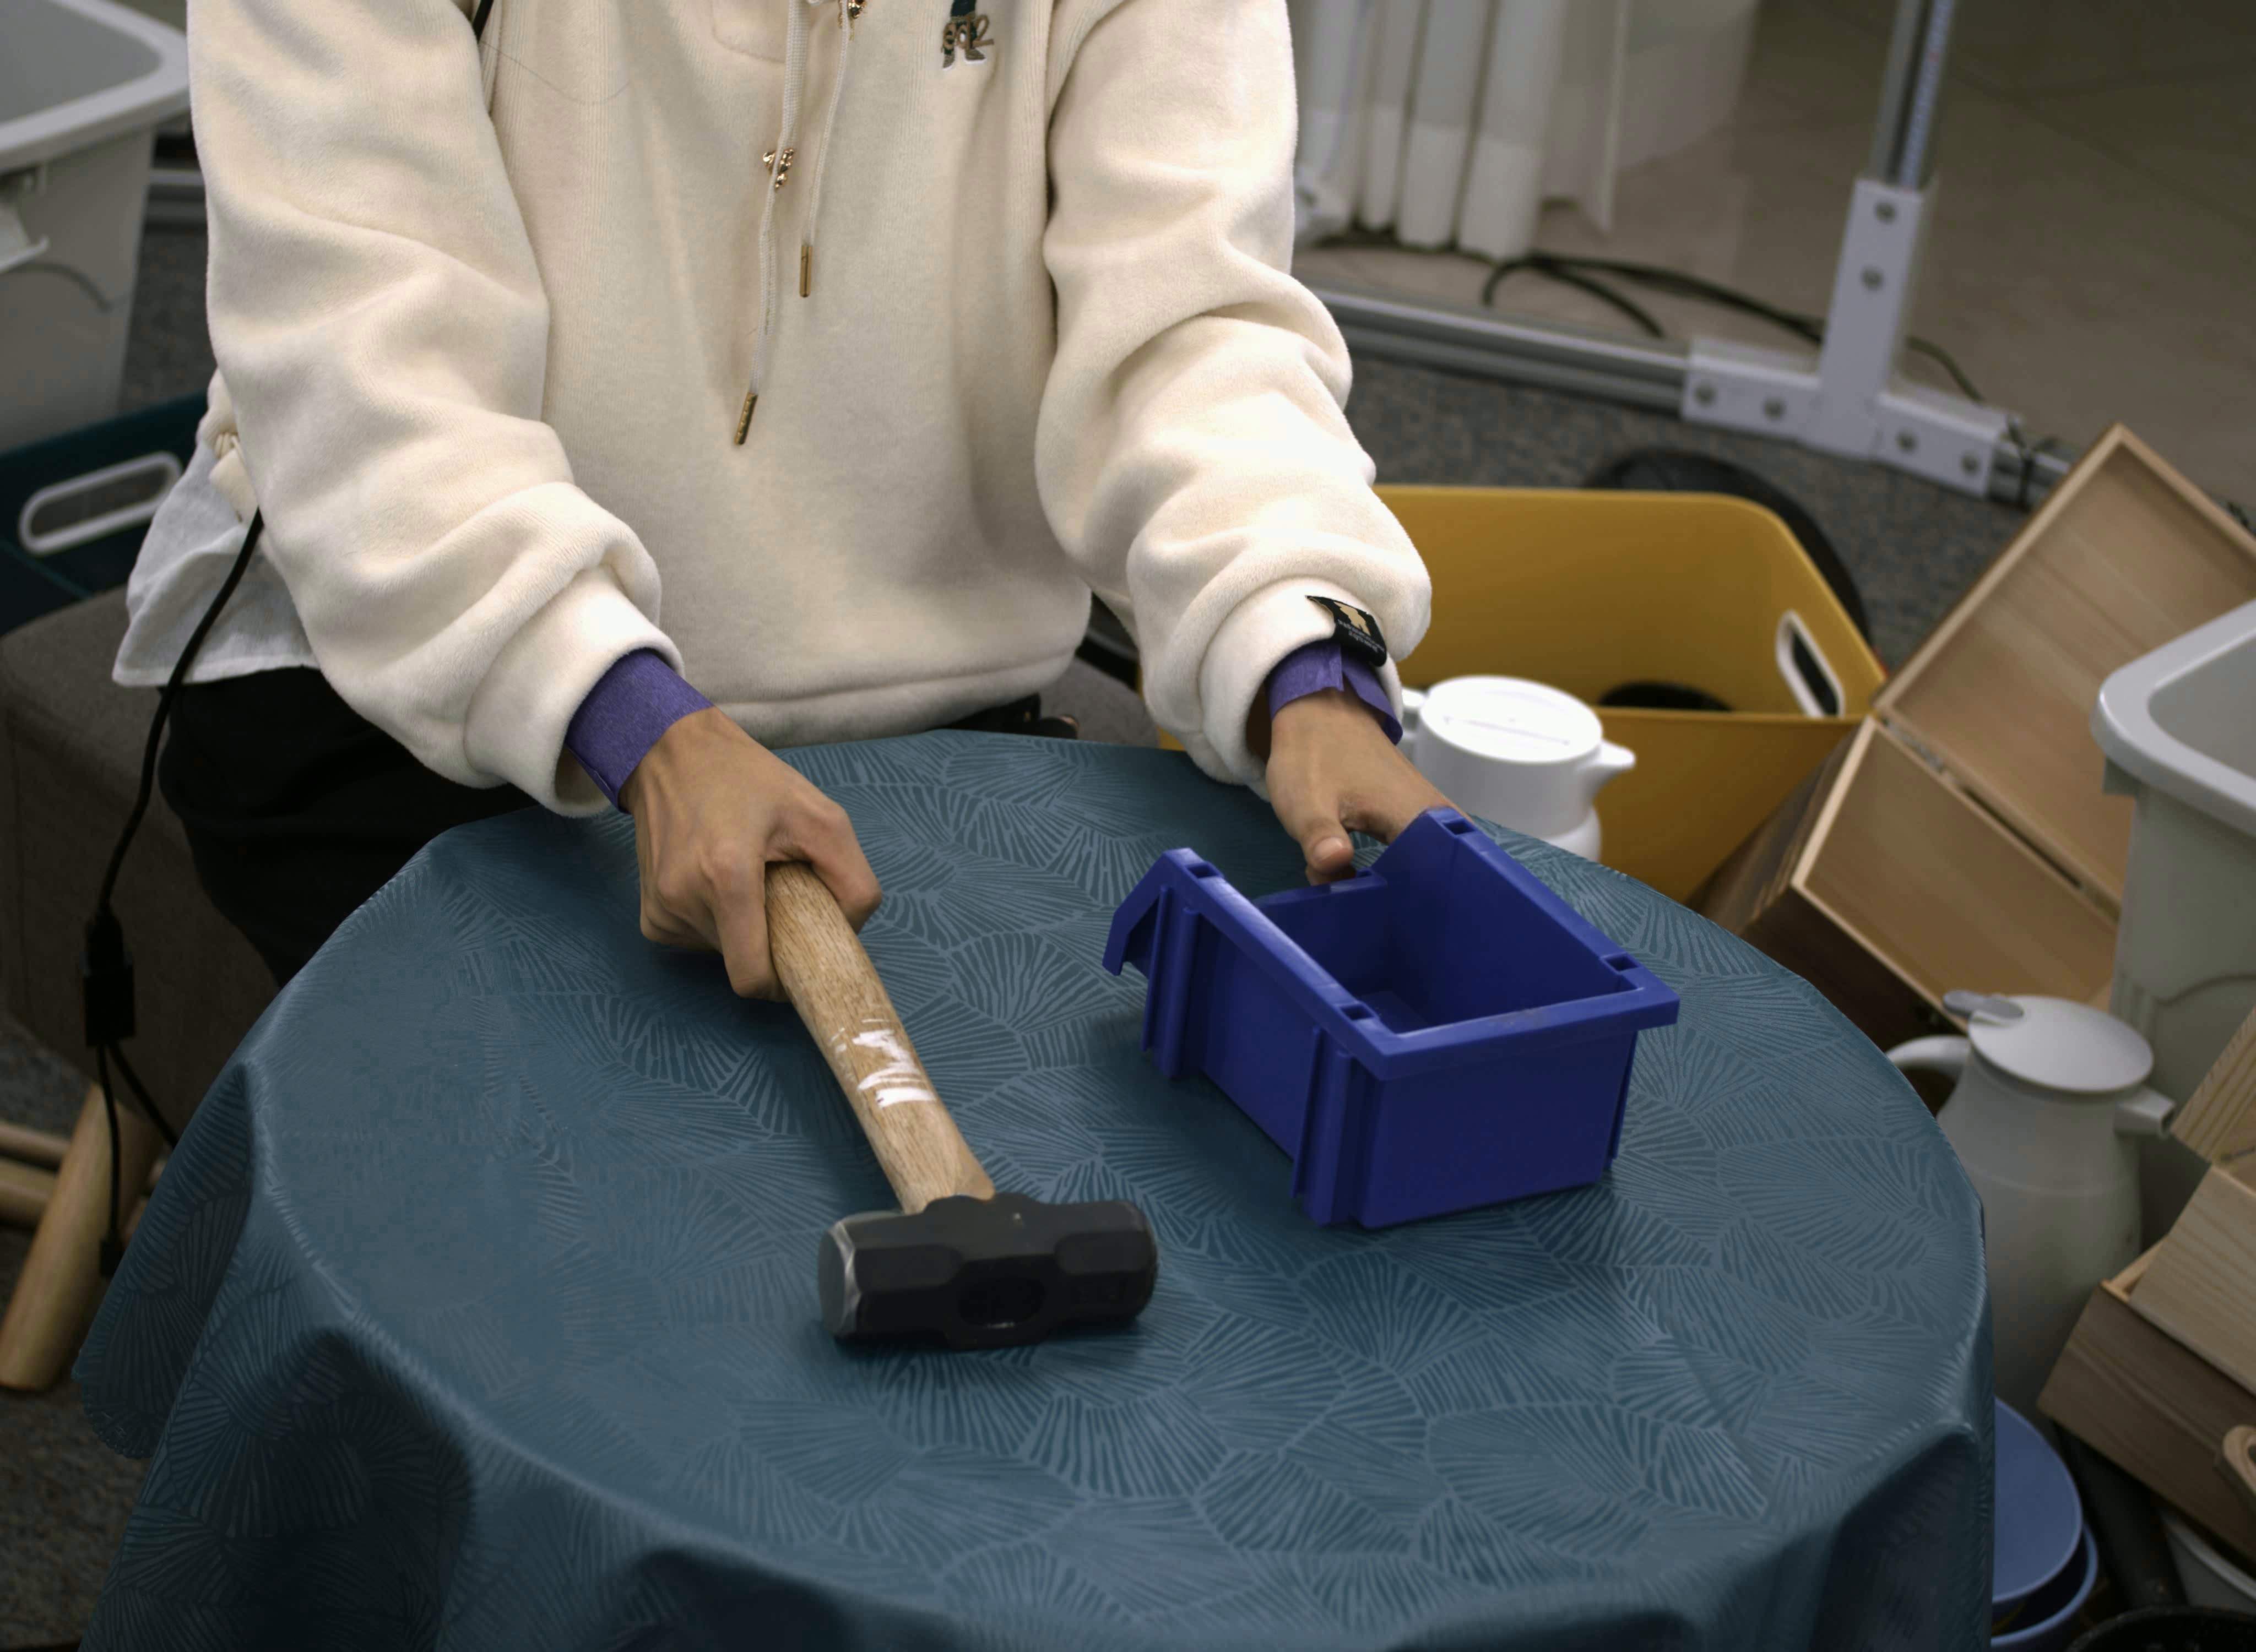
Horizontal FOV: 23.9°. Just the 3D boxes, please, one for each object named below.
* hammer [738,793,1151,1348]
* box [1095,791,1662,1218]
[{"bbox_3d":[-0.085,0.075,1.820,0.106,0.038,0.308,-2,31,-18],"label":"hammer"},{"bbox_3d":[0.082,0.057,1.861,0.124,0.081,0.181,-9,33,-27],"label":"box"}]
